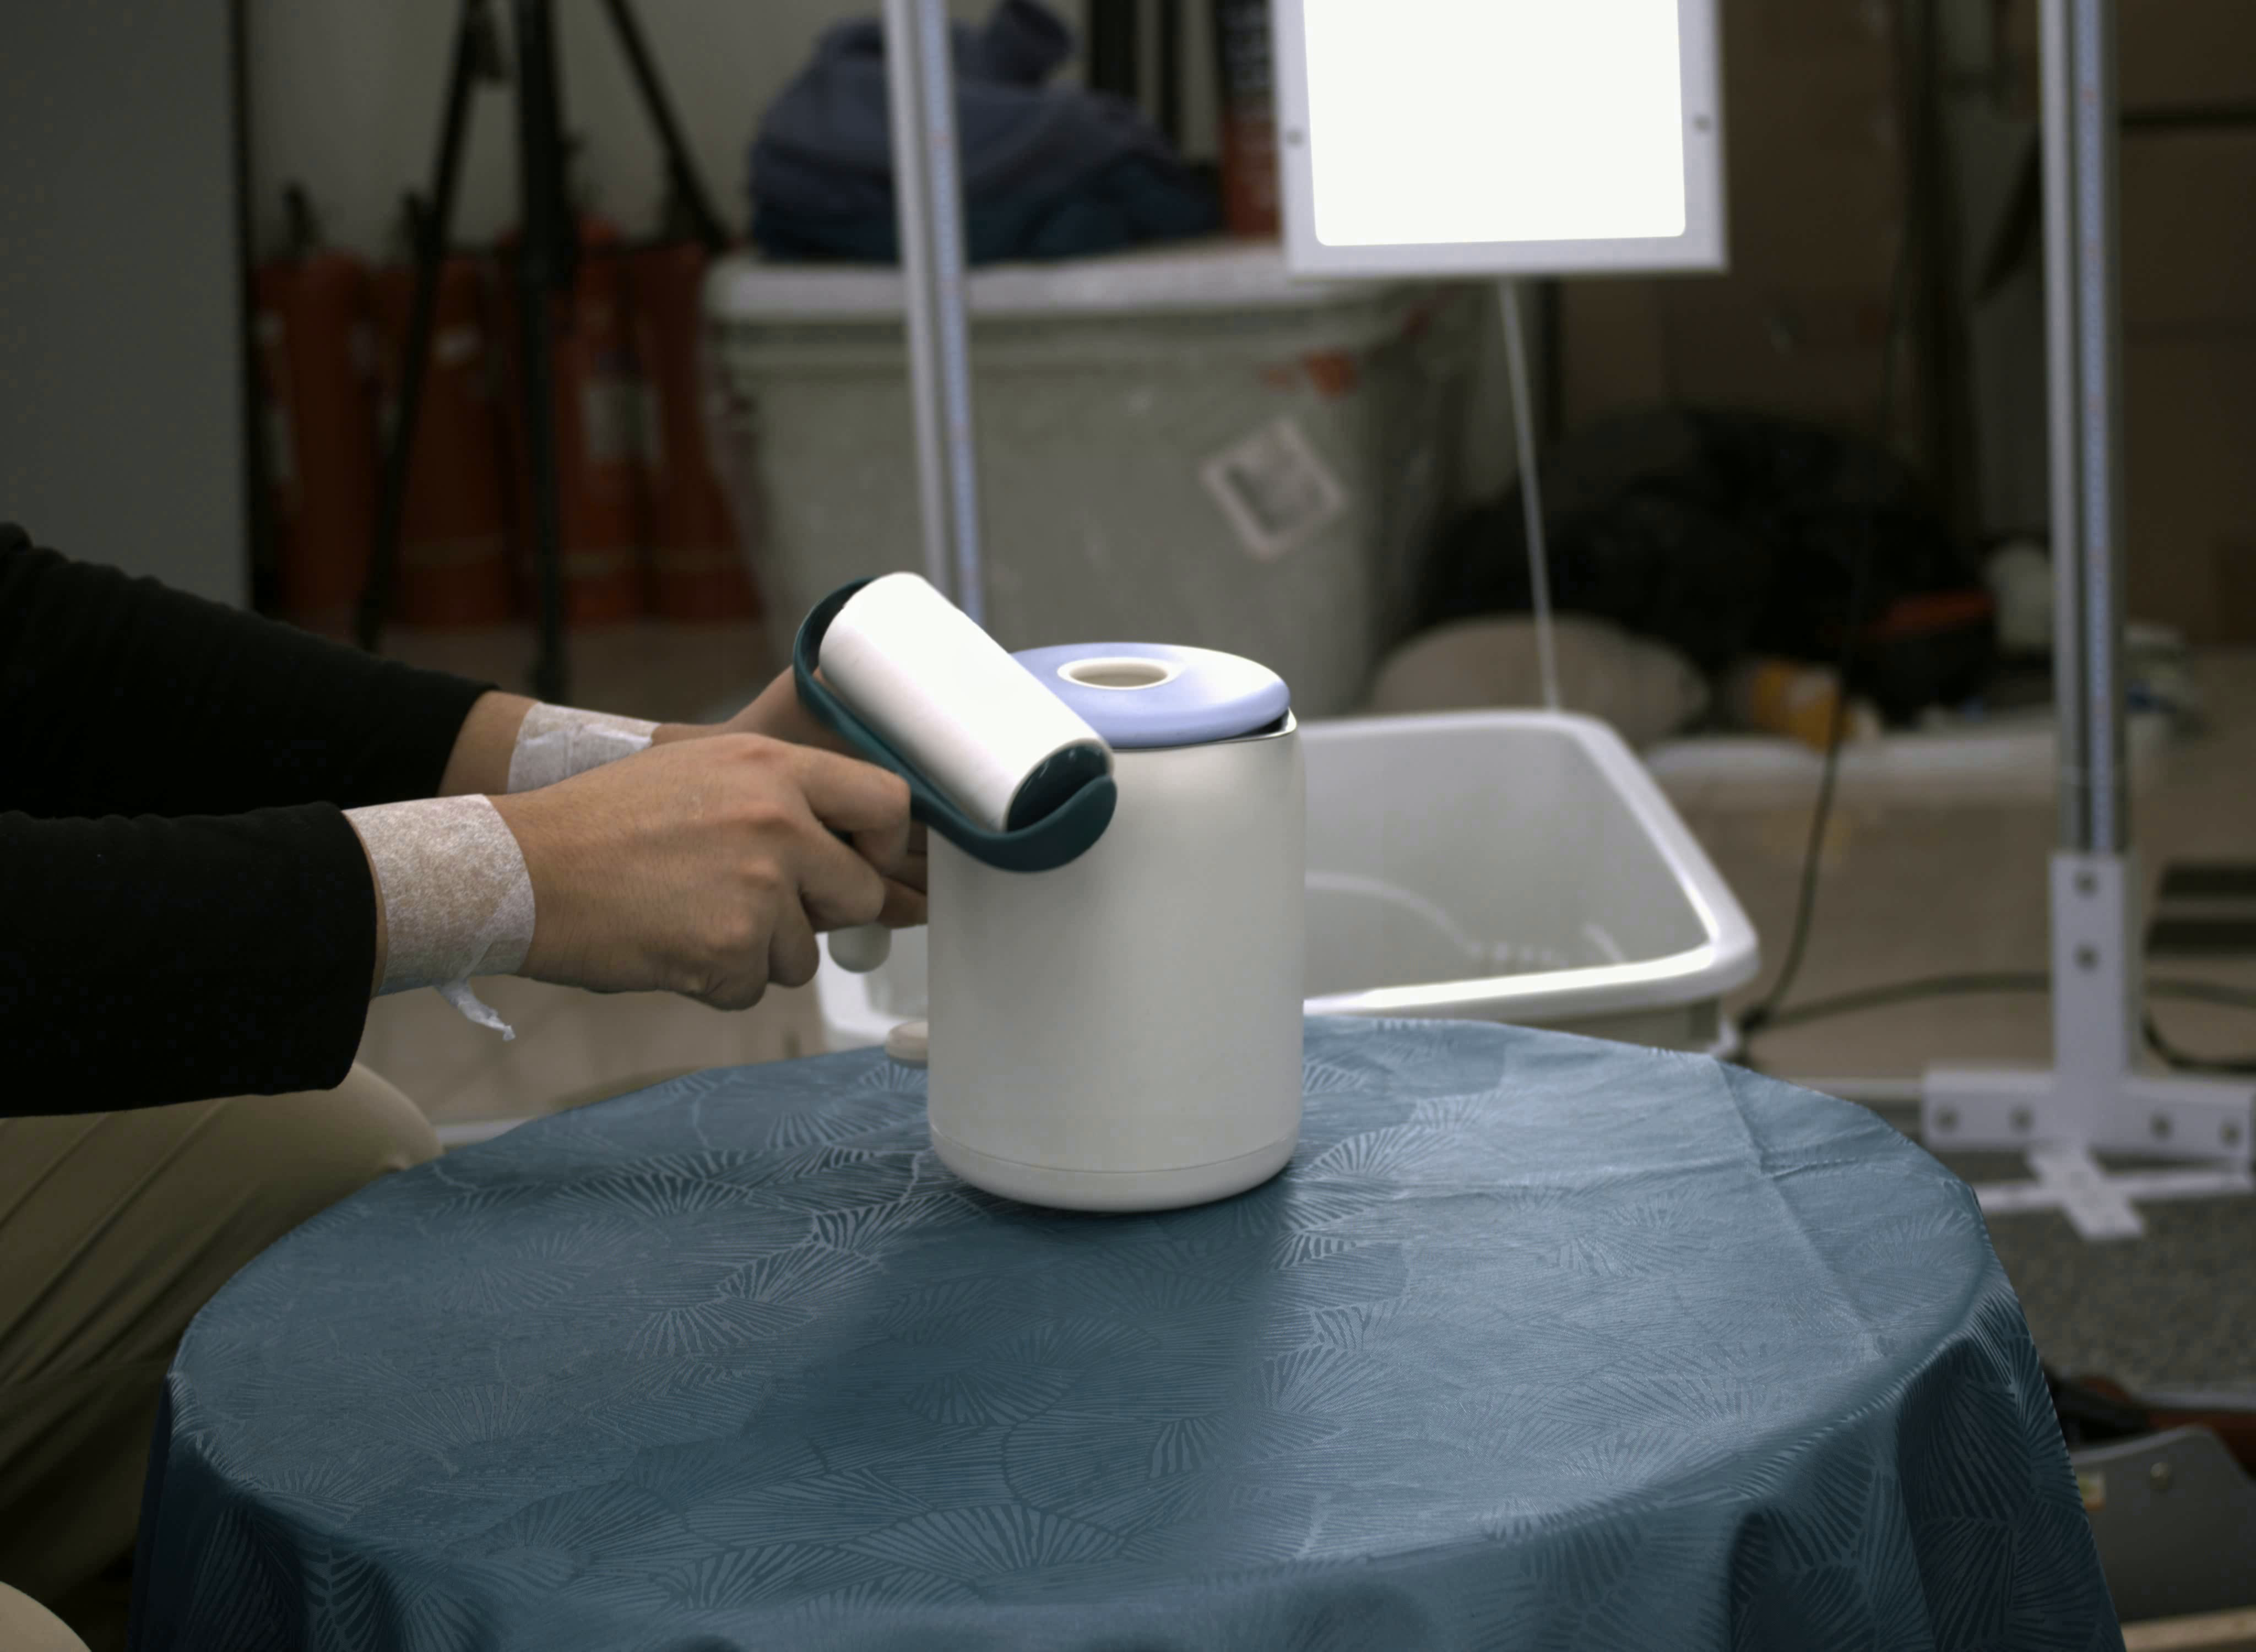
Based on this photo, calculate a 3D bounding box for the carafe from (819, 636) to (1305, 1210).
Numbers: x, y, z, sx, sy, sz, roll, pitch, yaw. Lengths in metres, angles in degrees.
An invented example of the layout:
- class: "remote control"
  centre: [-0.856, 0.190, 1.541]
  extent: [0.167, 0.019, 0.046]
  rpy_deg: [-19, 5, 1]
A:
- class: "carafe"
  centre: [-0.025, 0.030, 1.913]
  extent: [0.194, 0.183, 0.129]
  rpy_deg: [7, 17, 31]

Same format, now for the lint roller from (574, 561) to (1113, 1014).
- class: "lint roller"
  centre: [-0.107, -0.002, 1.780]
  extent: [0.177, 0.048, 0.136]
  rpy_deg: [-32, 52, -22]
